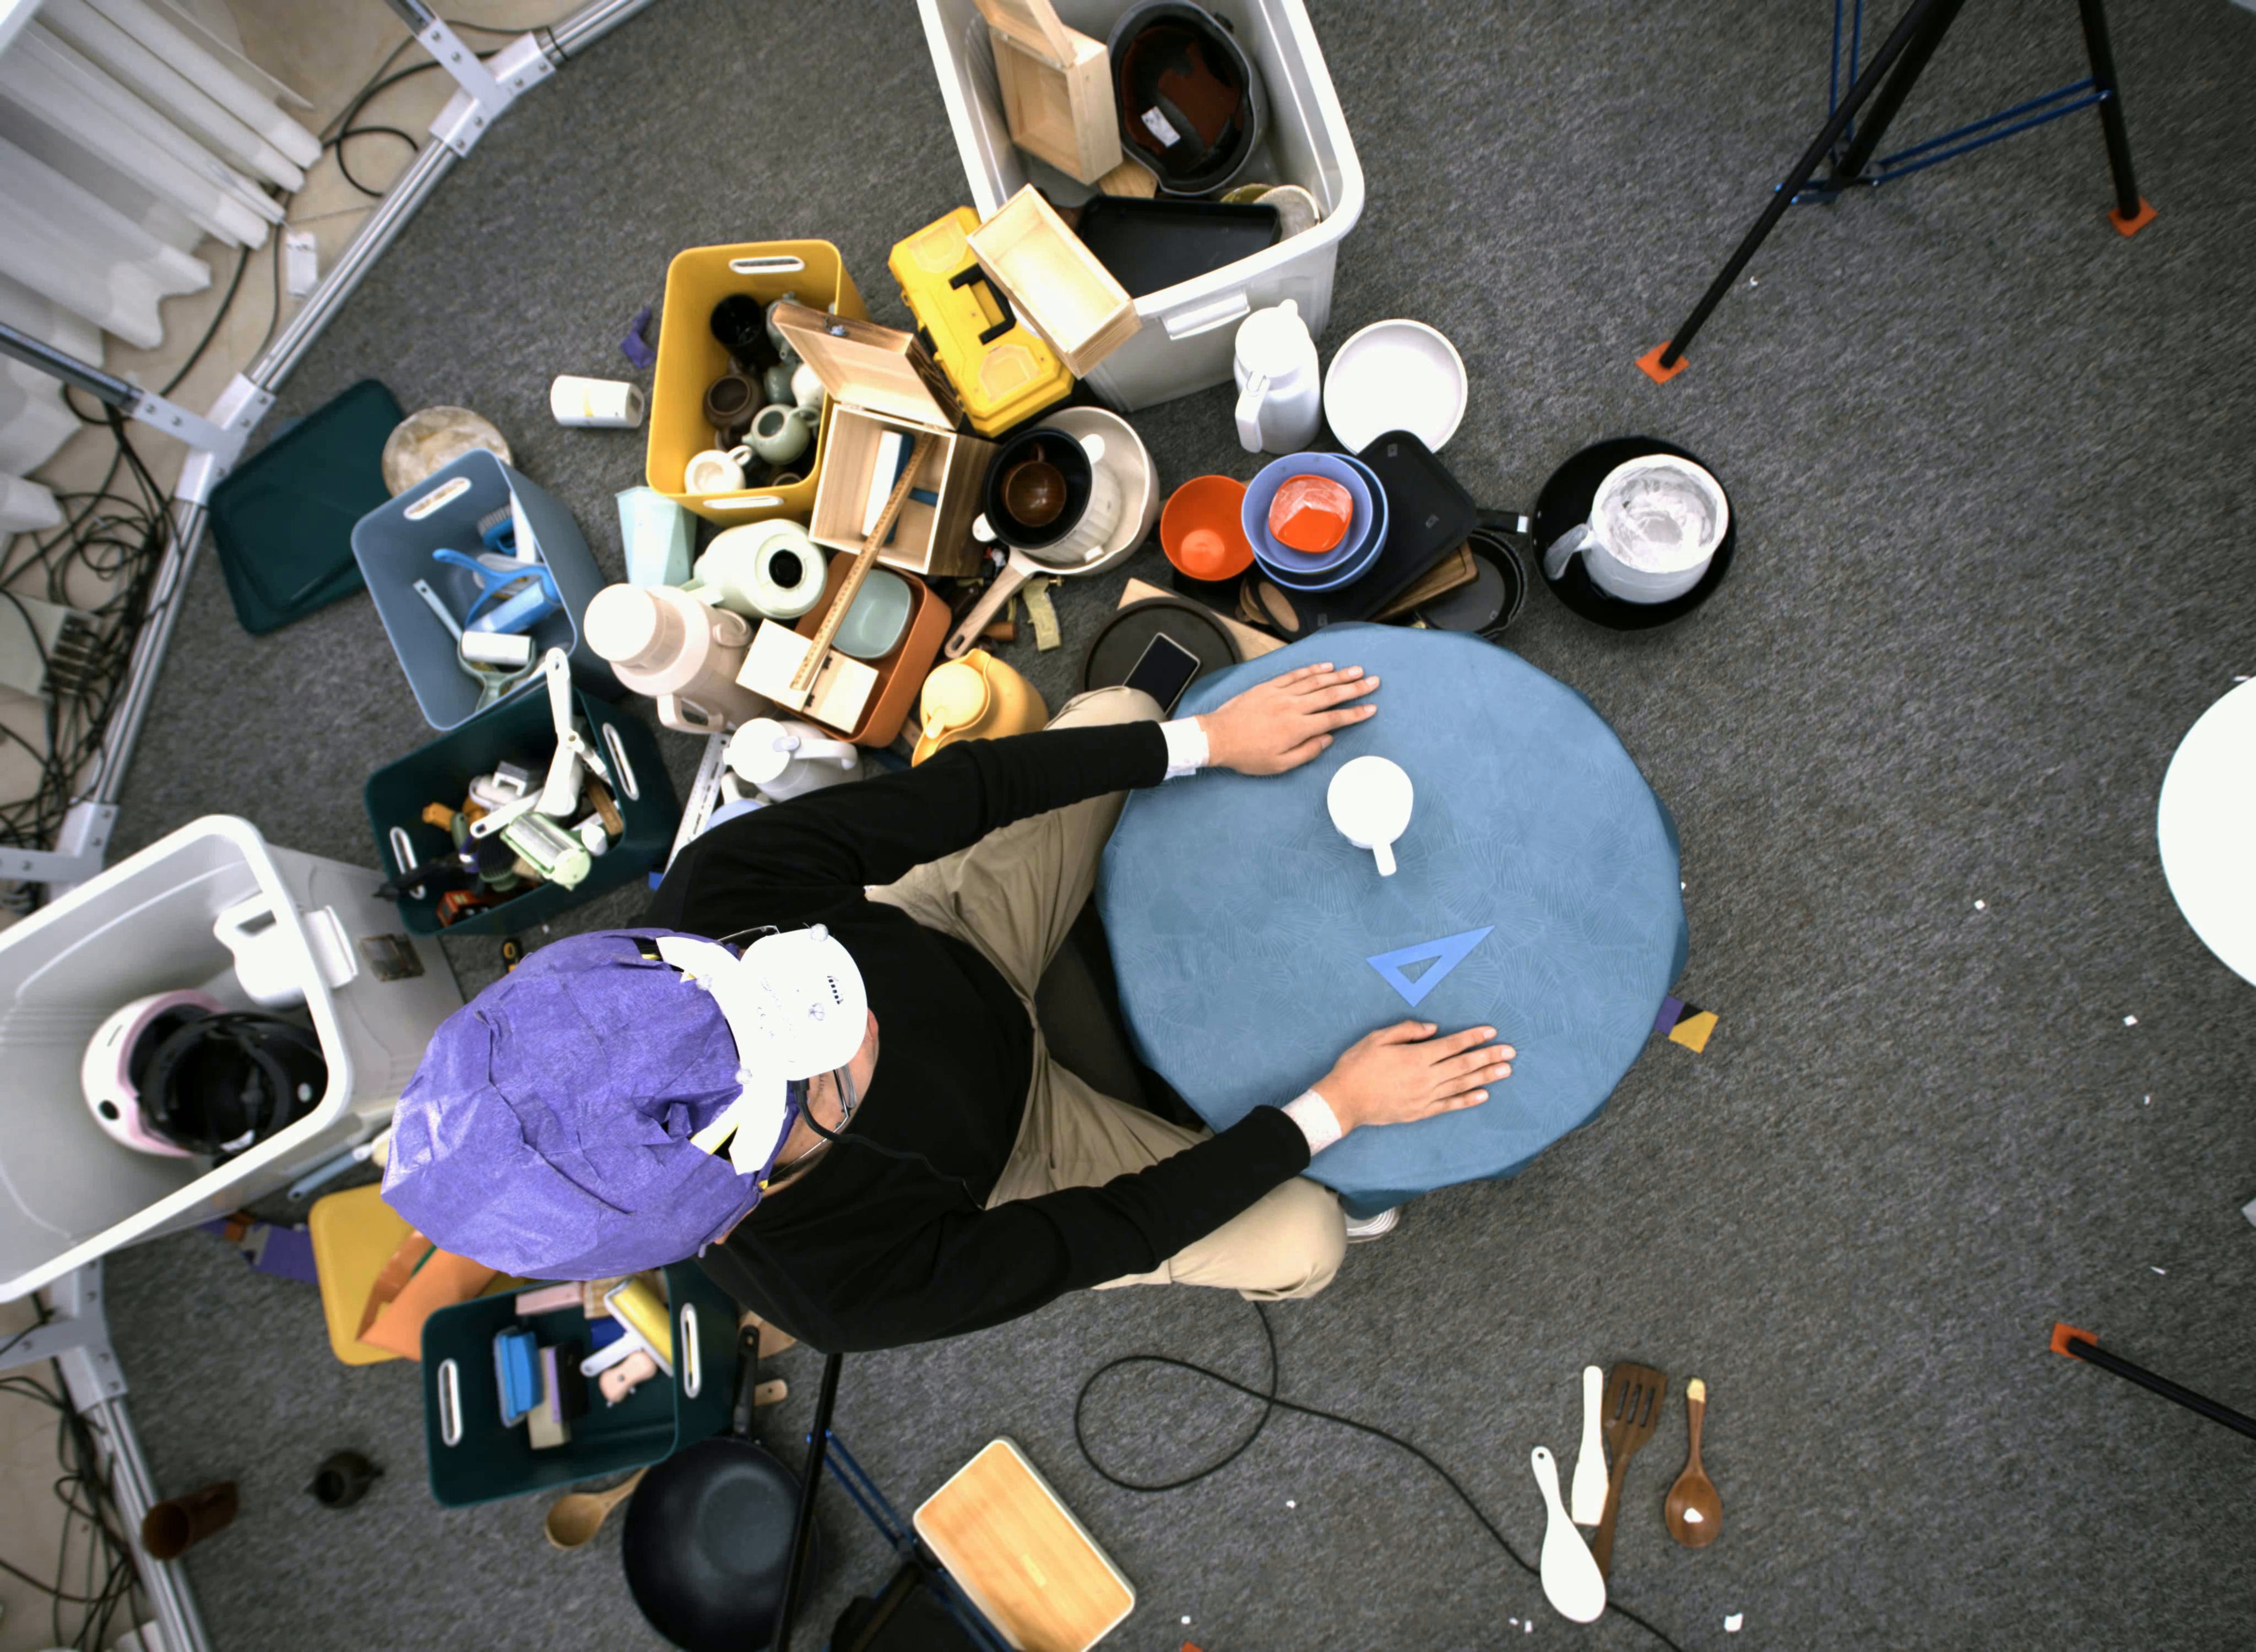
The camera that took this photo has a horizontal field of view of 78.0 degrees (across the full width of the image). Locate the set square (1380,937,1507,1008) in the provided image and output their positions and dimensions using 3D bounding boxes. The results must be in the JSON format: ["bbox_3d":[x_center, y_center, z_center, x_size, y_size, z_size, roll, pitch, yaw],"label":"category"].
[{"bbox_3d":[0.334,0.152,1.441,0.133,0.006,0.061,-11,83,10],"label":"set square"}]

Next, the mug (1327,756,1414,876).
[{"bbox_3d":[0.252,-0.008,1.416,0.085,0.102,0.117,-14,83,8],"label":"mug"}]
